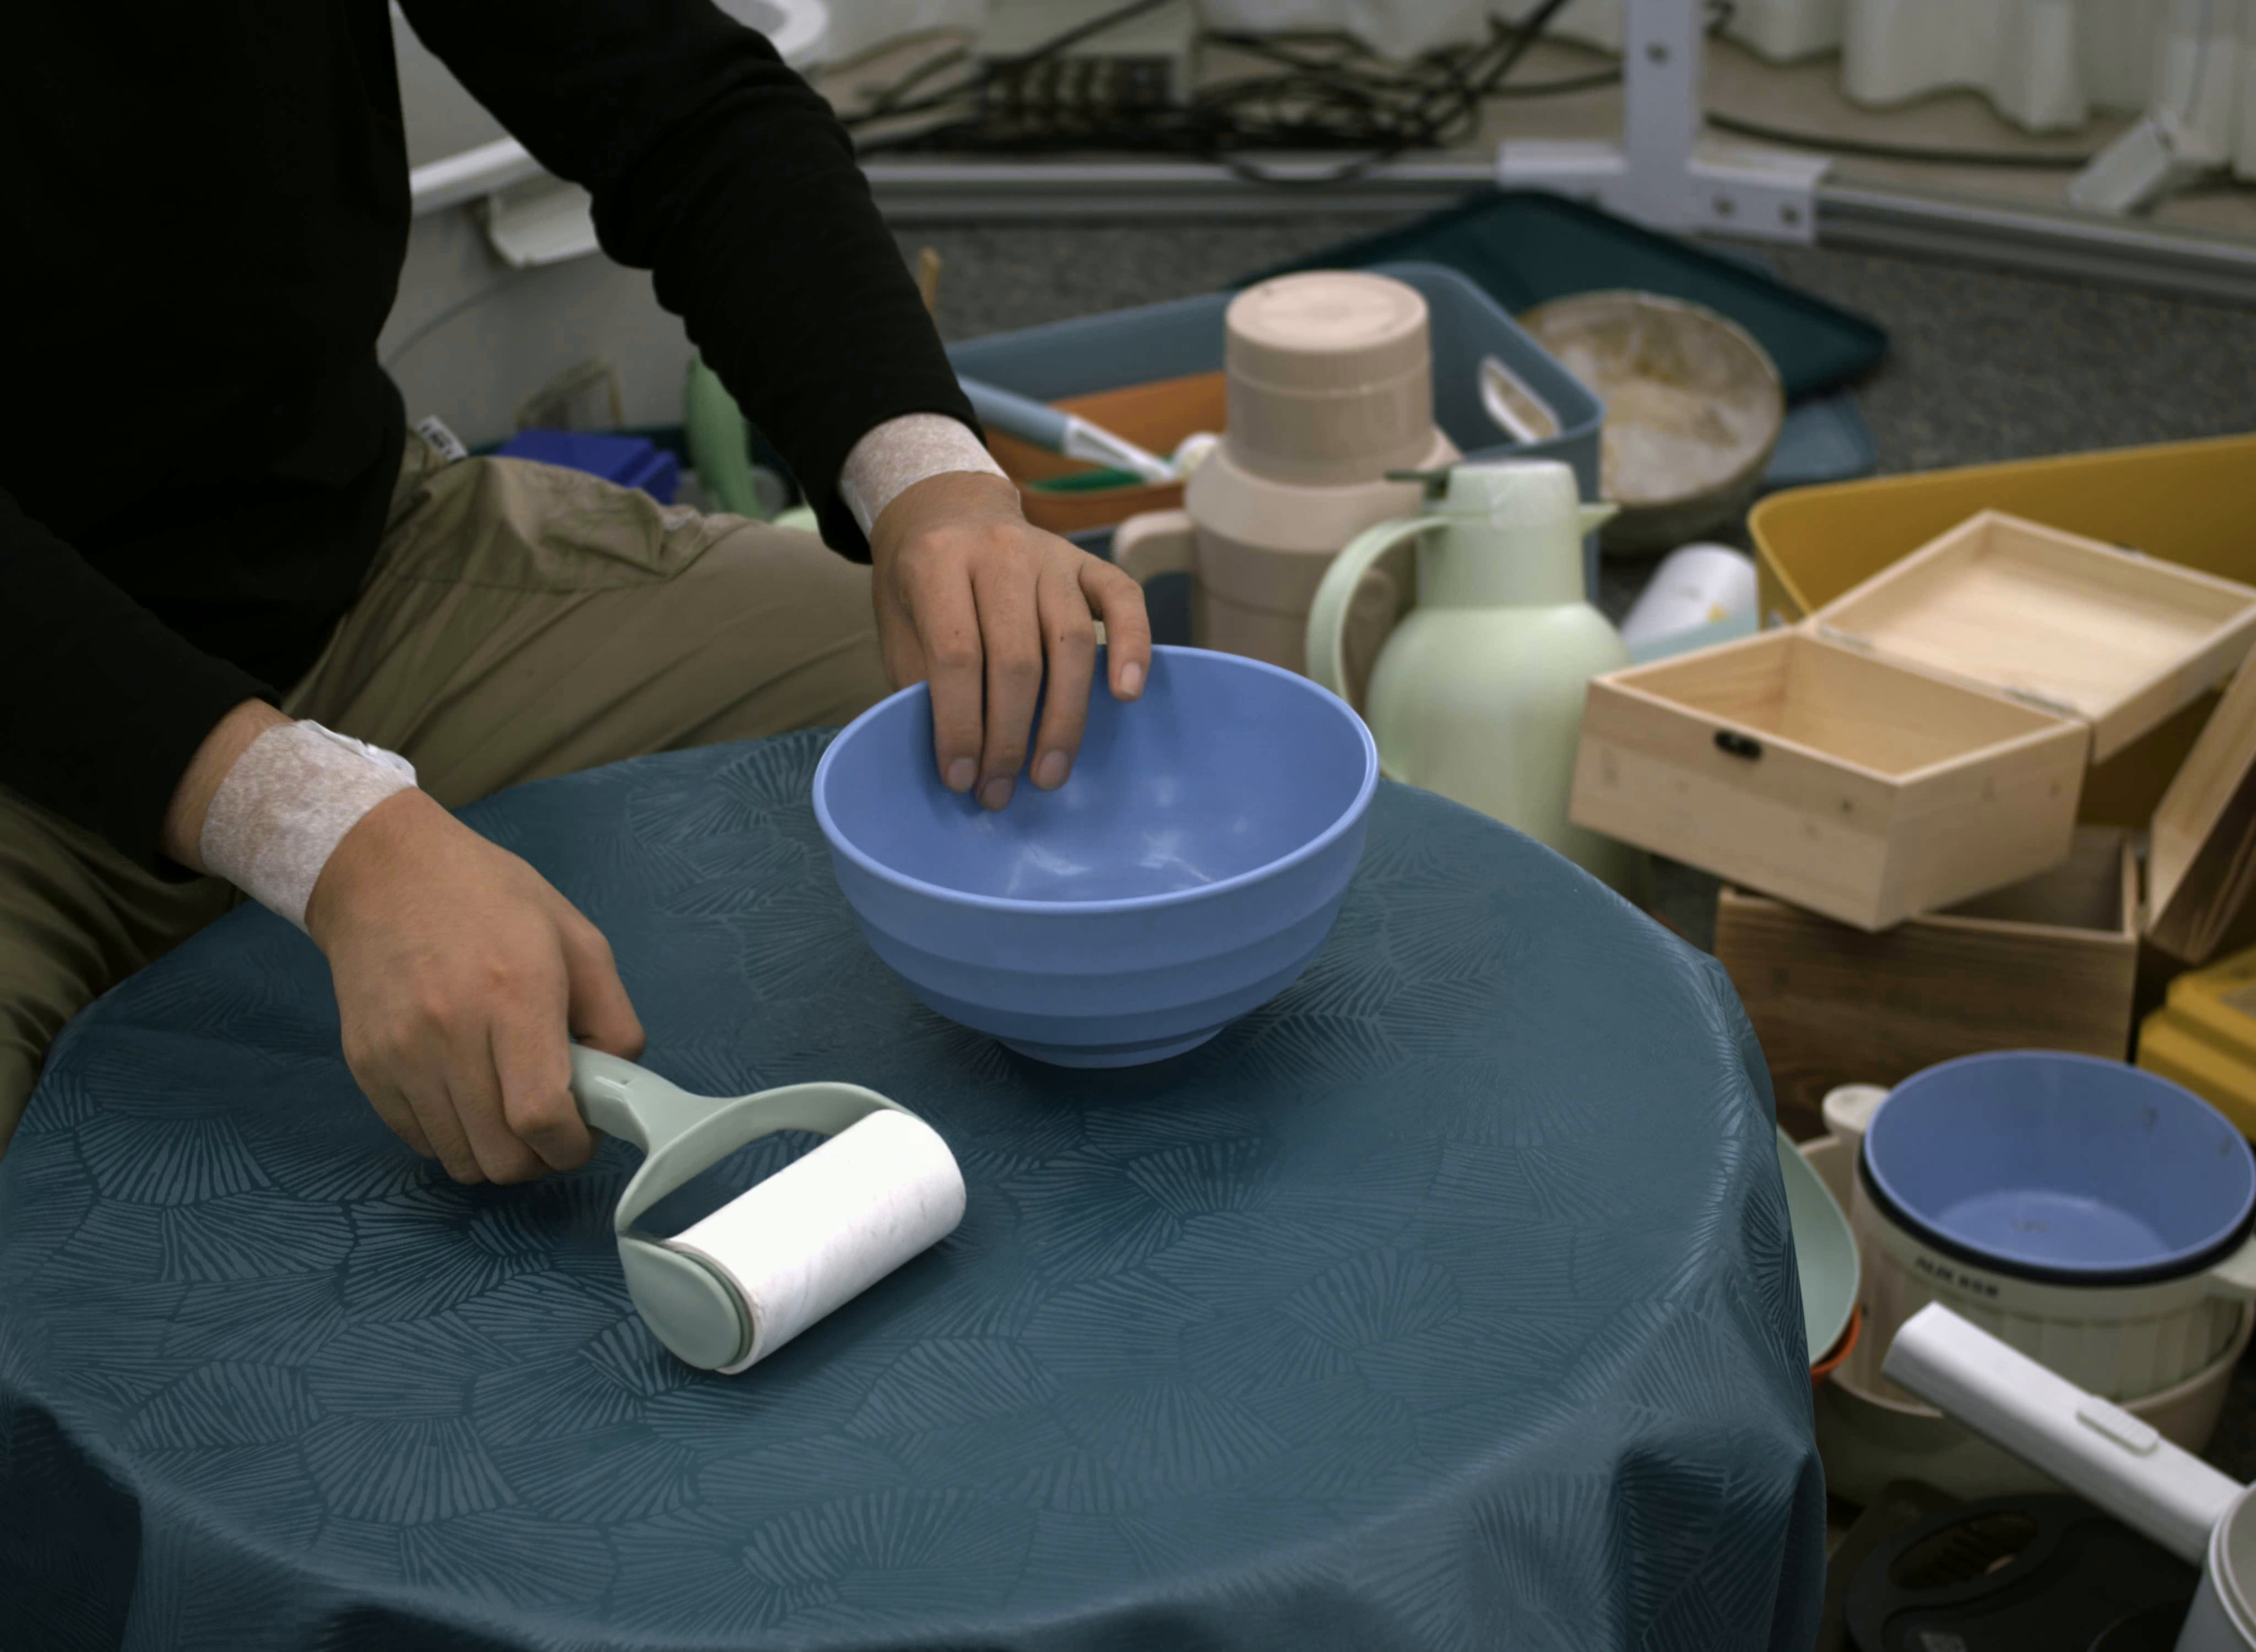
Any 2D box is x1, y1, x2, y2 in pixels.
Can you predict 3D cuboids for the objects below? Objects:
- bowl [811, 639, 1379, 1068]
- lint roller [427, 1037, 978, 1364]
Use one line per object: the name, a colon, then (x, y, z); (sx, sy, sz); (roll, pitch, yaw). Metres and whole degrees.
bowl: (-0.008, 0.020, 1.954); (0.195, 0.094, 0.199); (-3, 28, 2)
lint roller: (-0.154, 0.102, 1.843); (0.197, 0.048, 0.118); (26, 40, 30)
